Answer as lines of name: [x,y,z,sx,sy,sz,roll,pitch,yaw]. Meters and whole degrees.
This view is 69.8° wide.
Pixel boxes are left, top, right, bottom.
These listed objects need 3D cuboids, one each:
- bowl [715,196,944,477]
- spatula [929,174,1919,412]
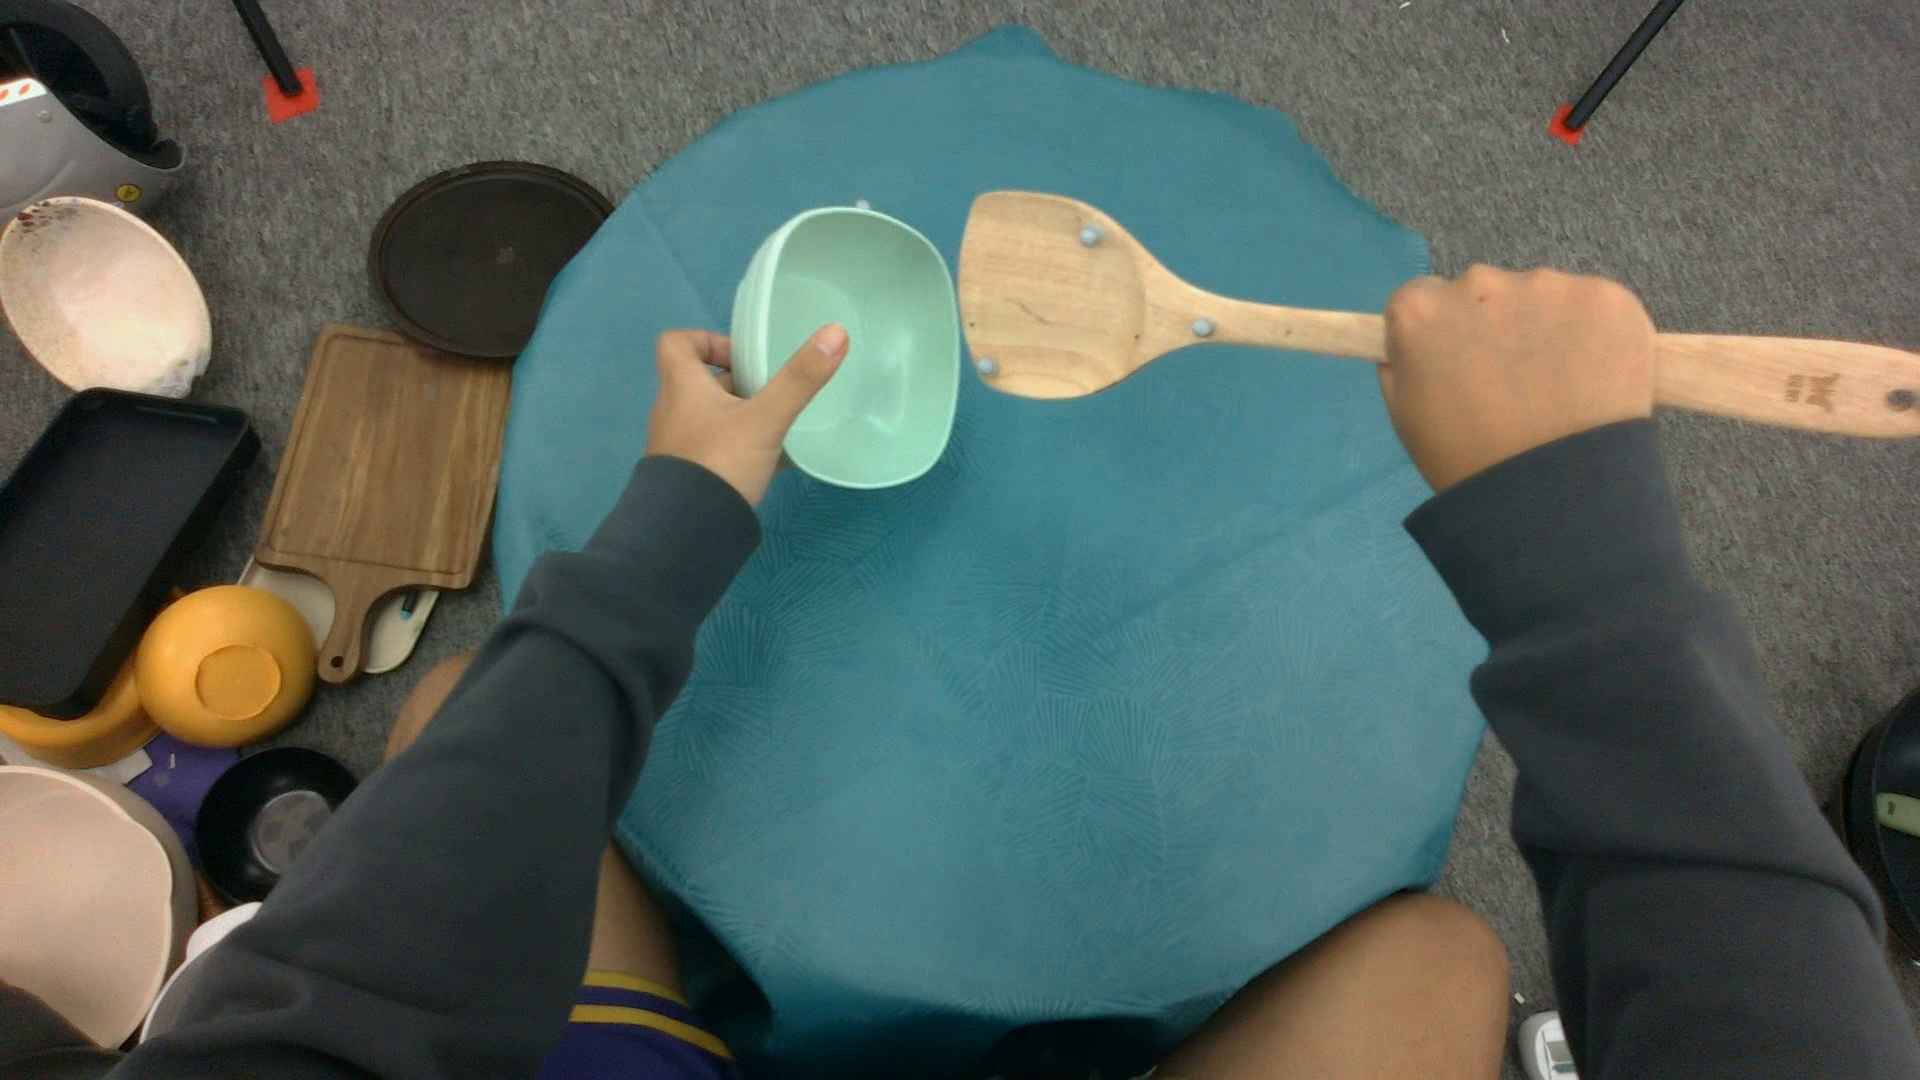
bowl: [-0.074,-0.102,0.705,0.058,0.151,0.152,3,62,40]
spatula: [0.152,-0.092,0.551,0.390,0.095,0.018,12,30,32]
